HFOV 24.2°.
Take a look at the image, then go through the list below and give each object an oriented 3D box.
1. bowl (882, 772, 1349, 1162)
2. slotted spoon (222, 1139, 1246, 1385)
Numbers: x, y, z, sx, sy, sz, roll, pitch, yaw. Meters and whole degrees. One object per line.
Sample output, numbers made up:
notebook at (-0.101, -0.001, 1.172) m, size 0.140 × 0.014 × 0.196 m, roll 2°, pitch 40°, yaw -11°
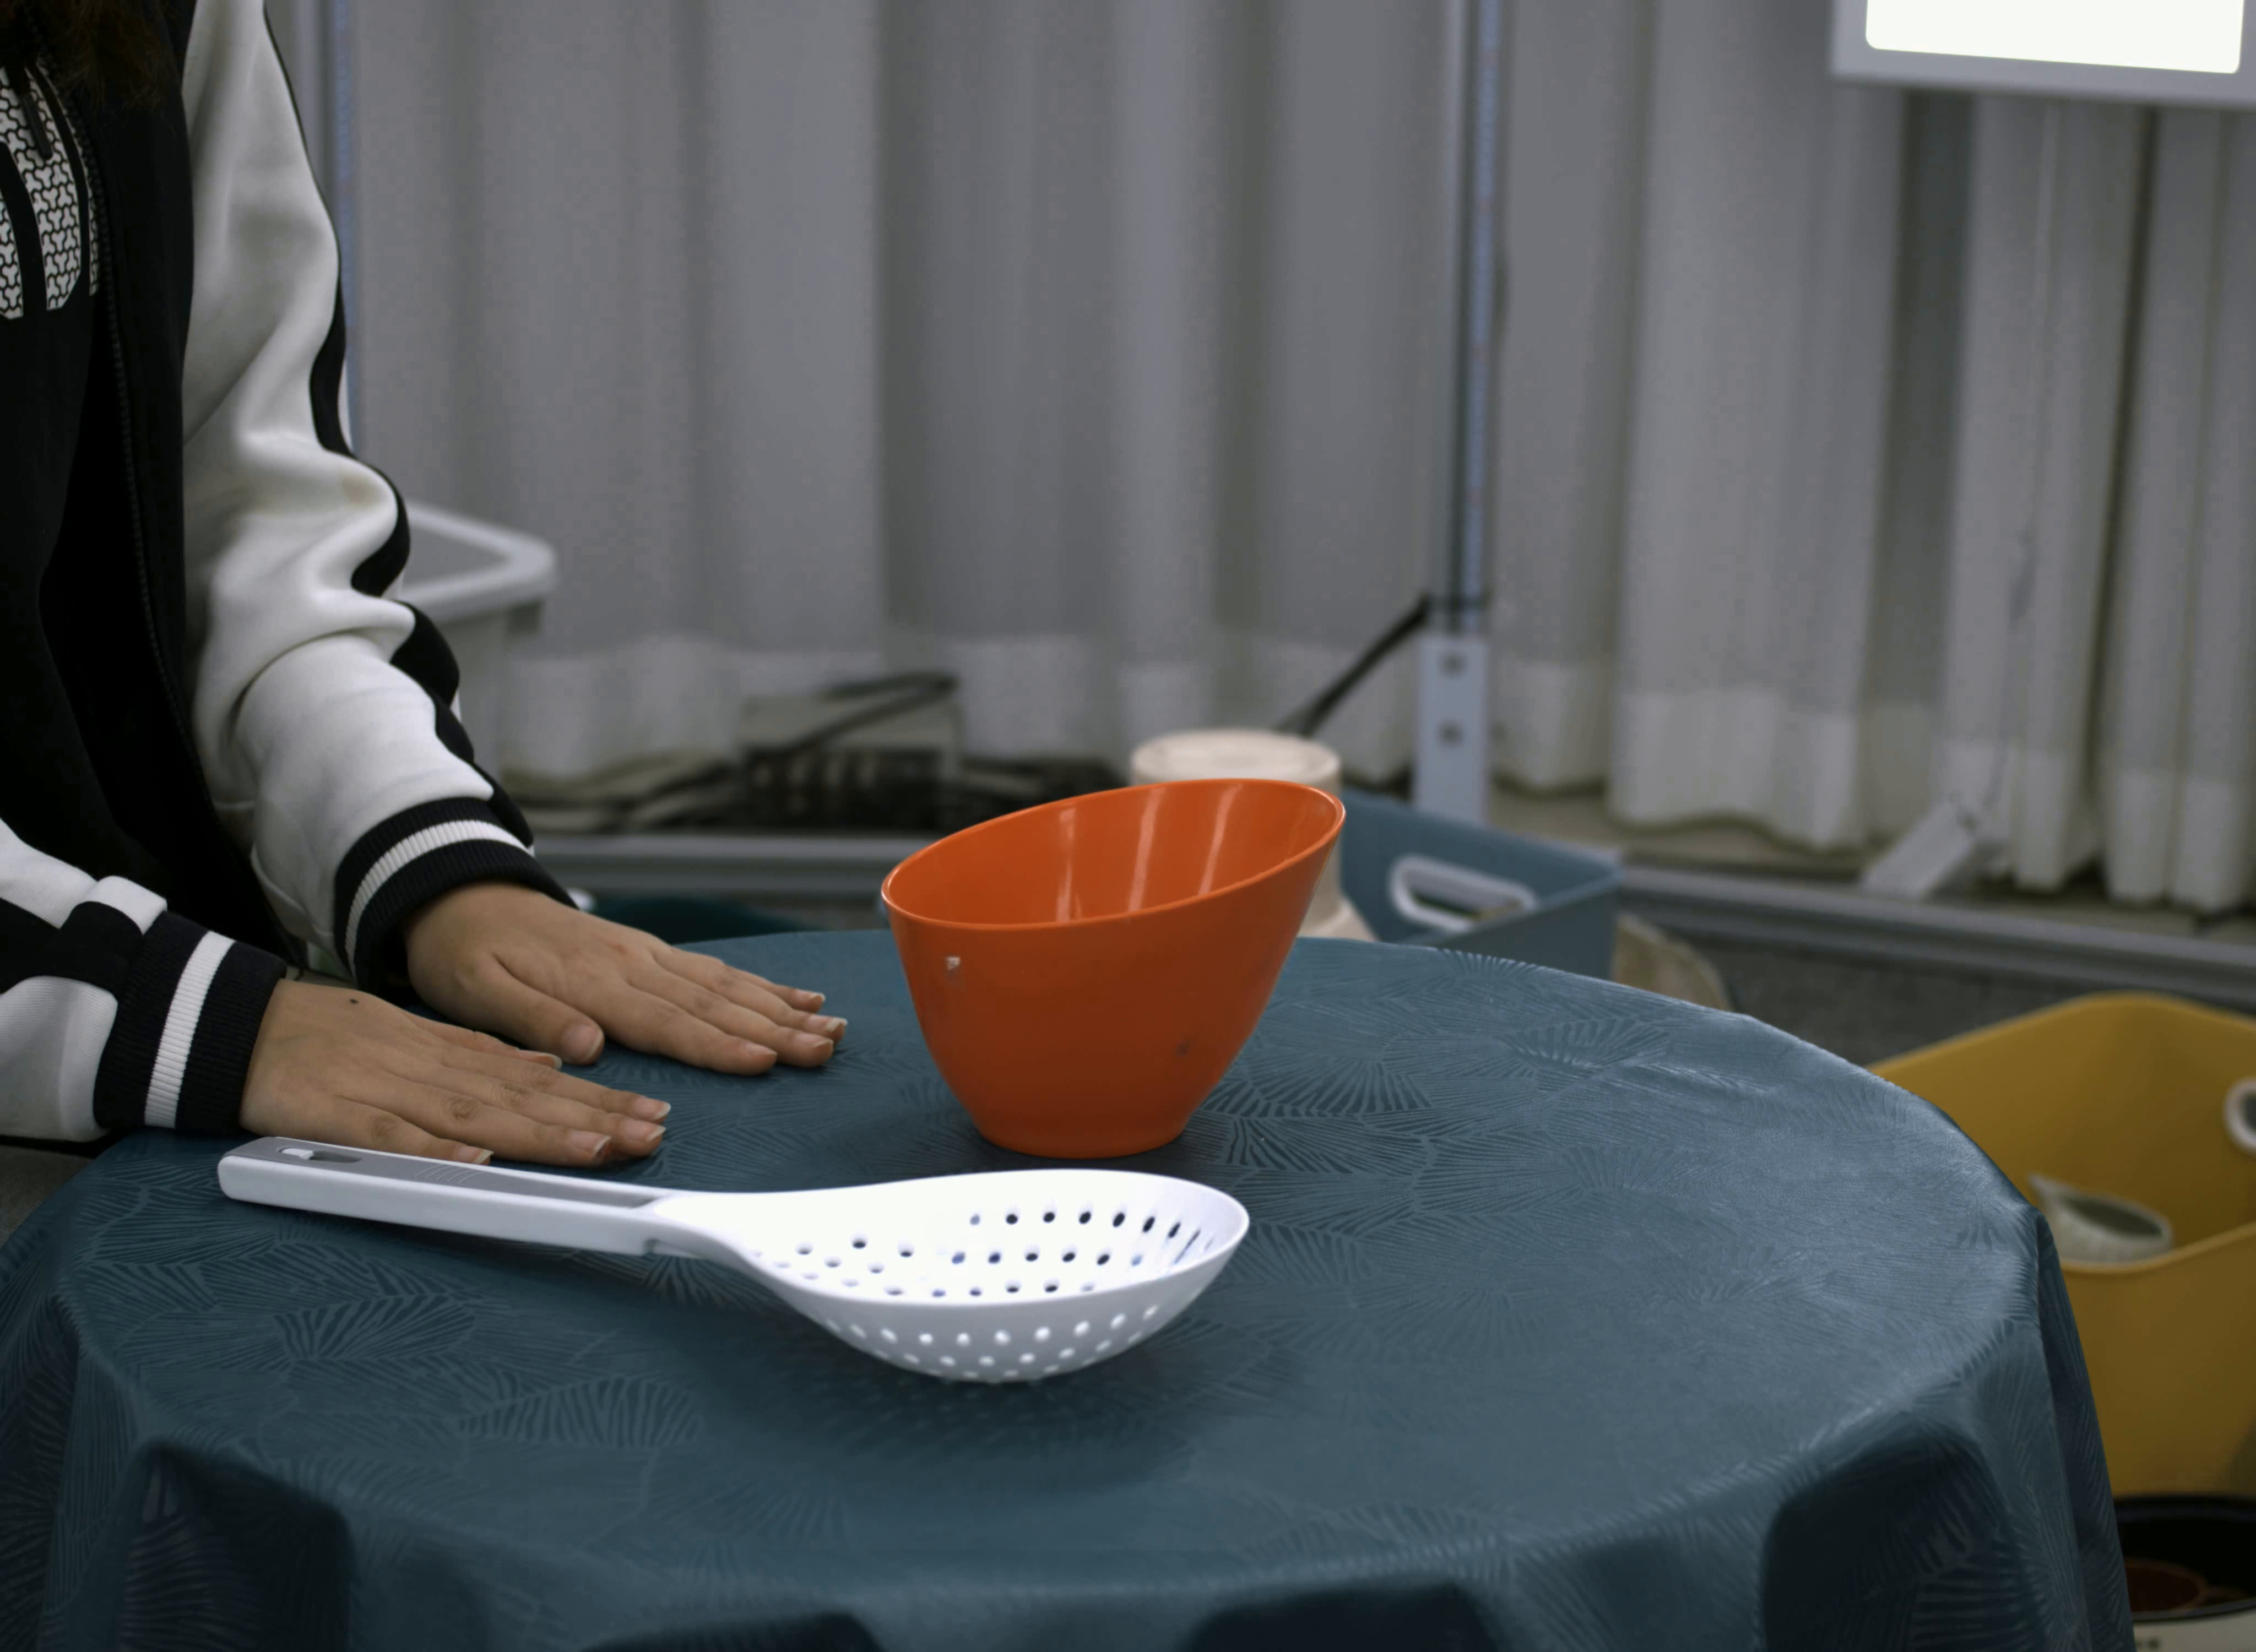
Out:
bowl at (-0.004, 0.047, 1.665) m, size 0.147 × 0.105 × 0.147 m, roll 0°, pitch 19°, yaw 1°
slotted spoon at (-0.125, 0.115, 1.522) m, size 0.345 × 0.046 × 0.136 m, roll 9°, pitch 16°, yaw 31°
